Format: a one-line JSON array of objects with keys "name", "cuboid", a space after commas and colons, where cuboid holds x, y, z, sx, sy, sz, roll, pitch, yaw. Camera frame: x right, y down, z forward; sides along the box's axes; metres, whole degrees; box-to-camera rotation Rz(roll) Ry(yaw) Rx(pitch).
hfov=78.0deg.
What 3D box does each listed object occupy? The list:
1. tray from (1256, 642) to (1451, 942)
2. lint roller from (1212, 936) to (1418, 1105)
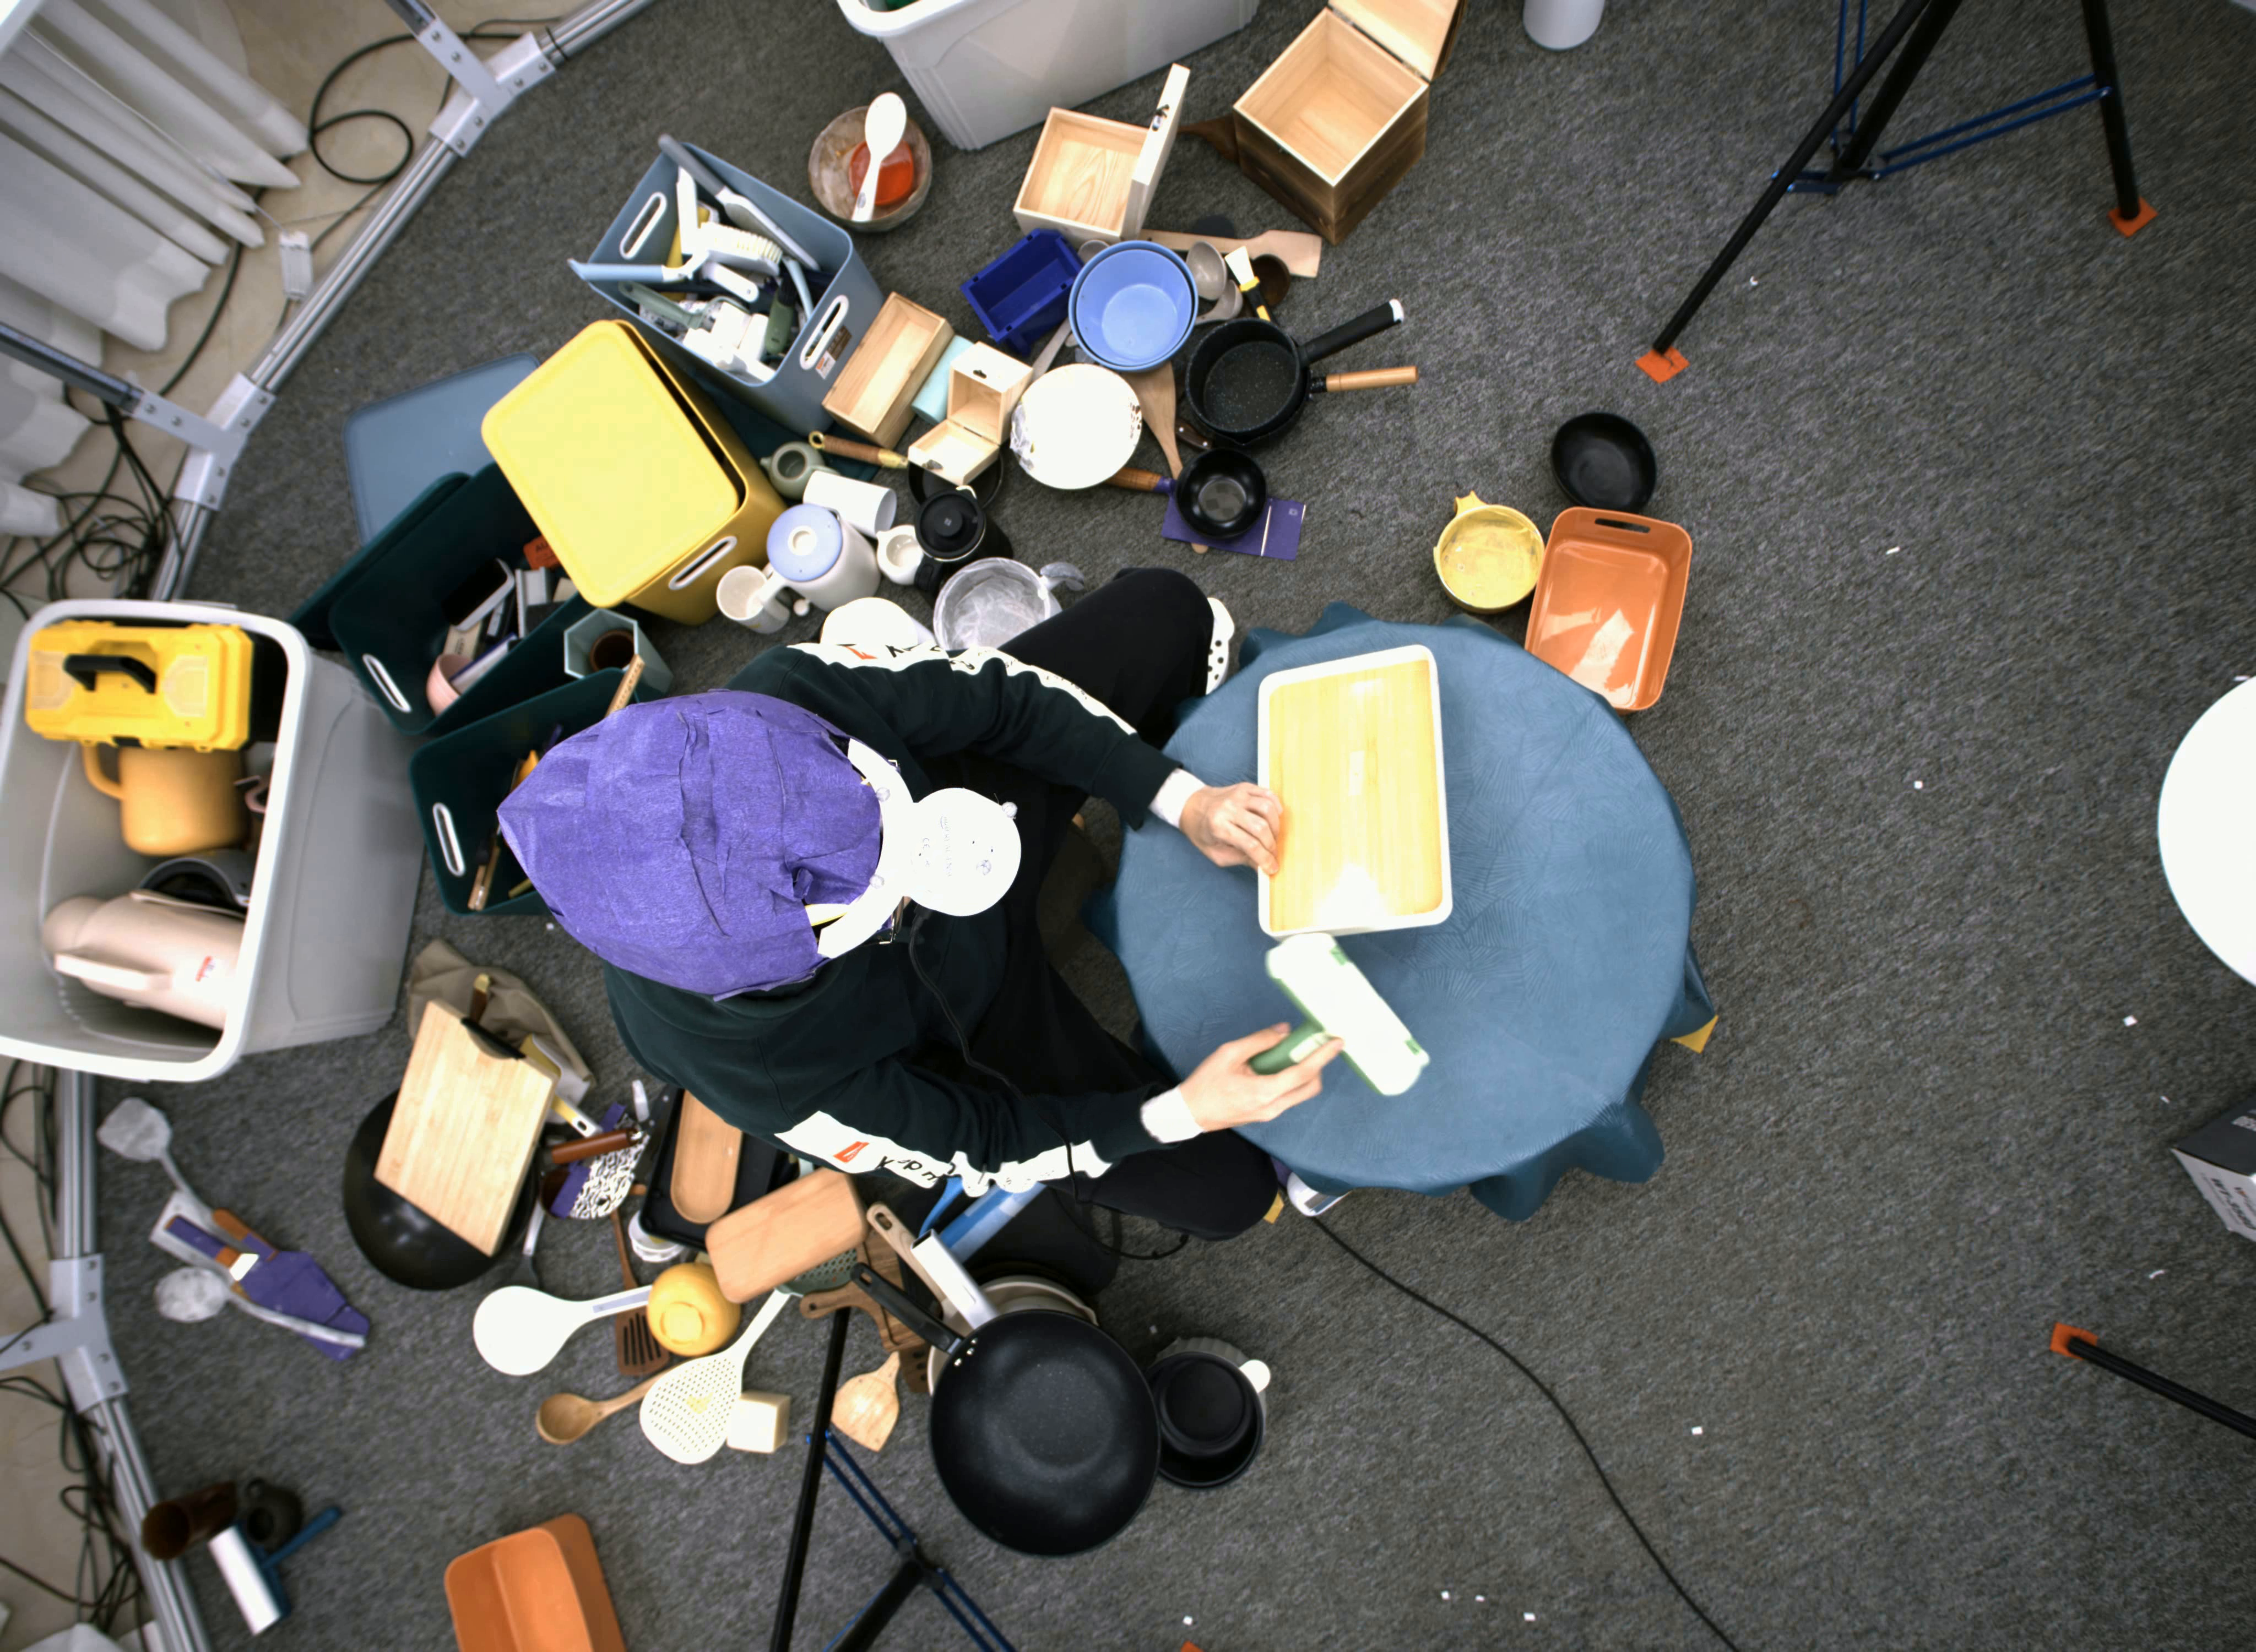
[{"name": "tray", "cuboid": [0.223, -0.037, 1.388, 0.193, 0.027, 0.294, -9, 65, 26]}, {"name": "lint roller", "cuboid": [0.161, 0.219, 1.322, 0.184, 0.081, 0.201, -41, 119, 5]}]
